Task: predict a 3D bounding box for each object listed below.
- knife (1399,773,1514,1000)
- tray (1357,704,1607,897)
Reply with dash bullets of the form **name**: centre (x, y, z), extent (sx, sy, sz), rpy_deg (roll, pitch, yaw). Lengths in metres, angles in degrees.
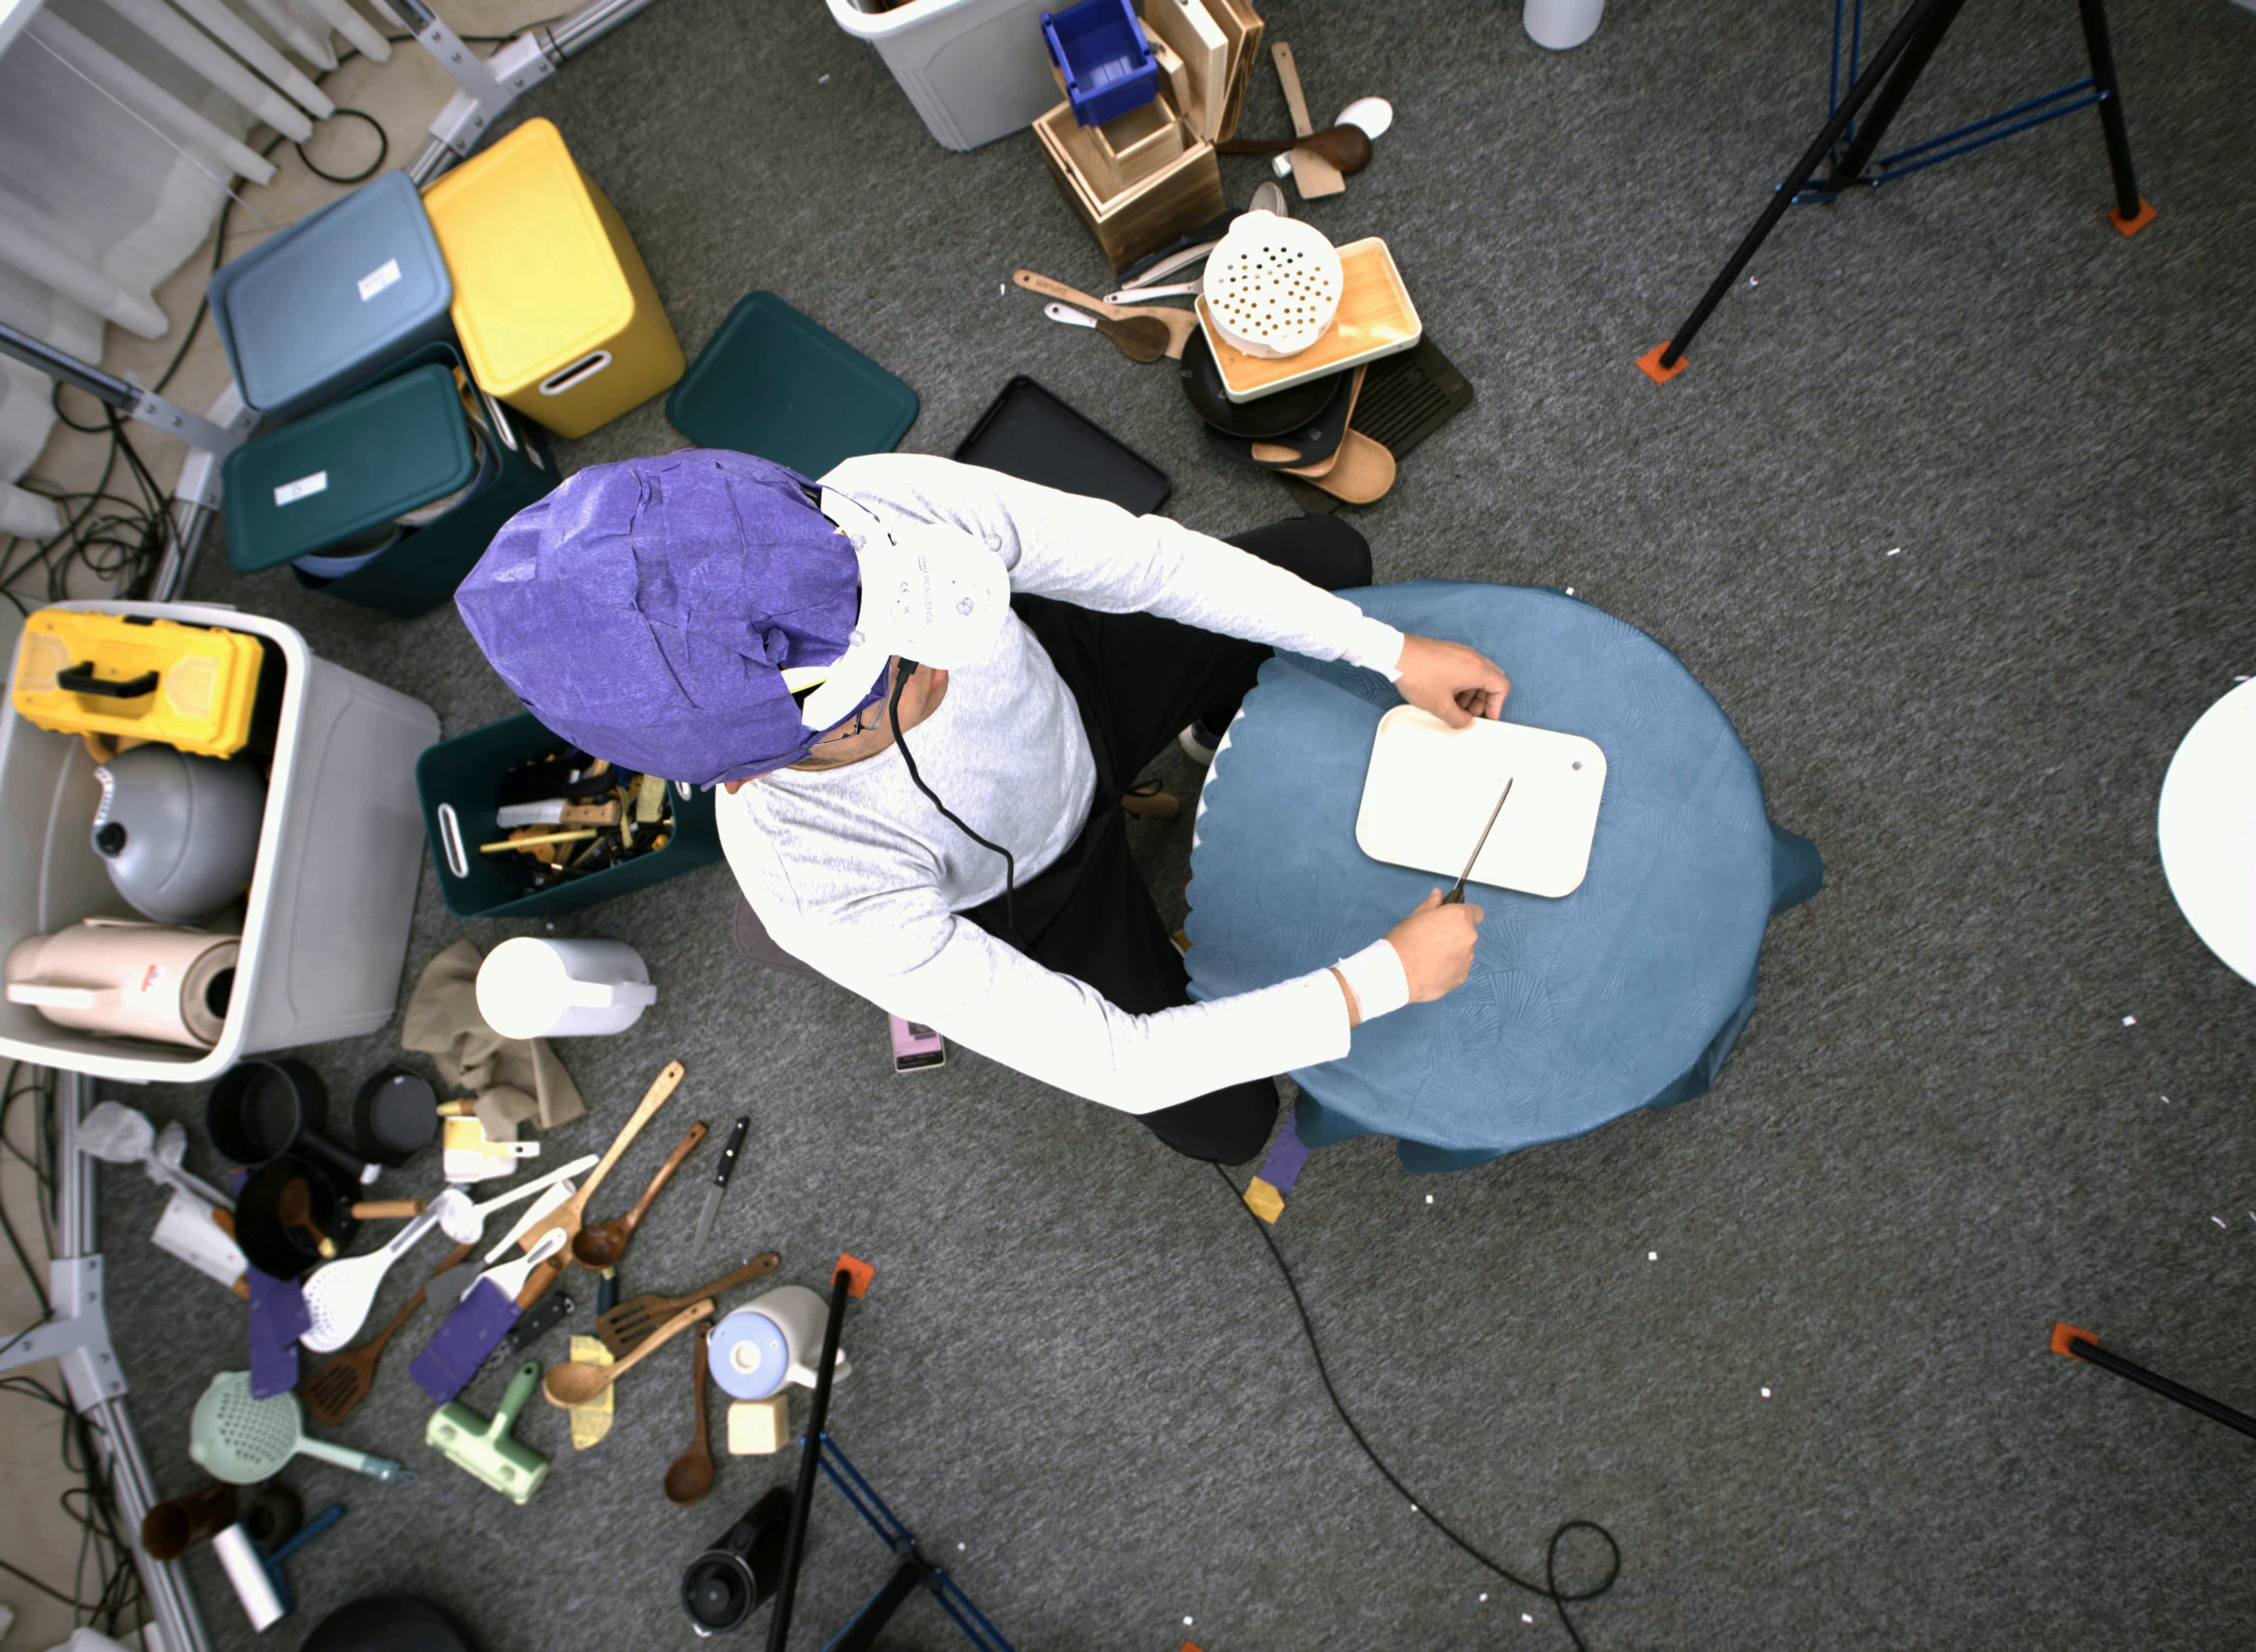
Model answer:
- **knife**: centre (0.334, 0.052, 1.377), extent (0.020, 0.051, 0.283), rpy_deg (30, 66, 3)
- **tray**: centre (0.369, -0.030, 1.438), extent (0.240, 0.017, 0.171), rpy_deg (13, 89, 11)
